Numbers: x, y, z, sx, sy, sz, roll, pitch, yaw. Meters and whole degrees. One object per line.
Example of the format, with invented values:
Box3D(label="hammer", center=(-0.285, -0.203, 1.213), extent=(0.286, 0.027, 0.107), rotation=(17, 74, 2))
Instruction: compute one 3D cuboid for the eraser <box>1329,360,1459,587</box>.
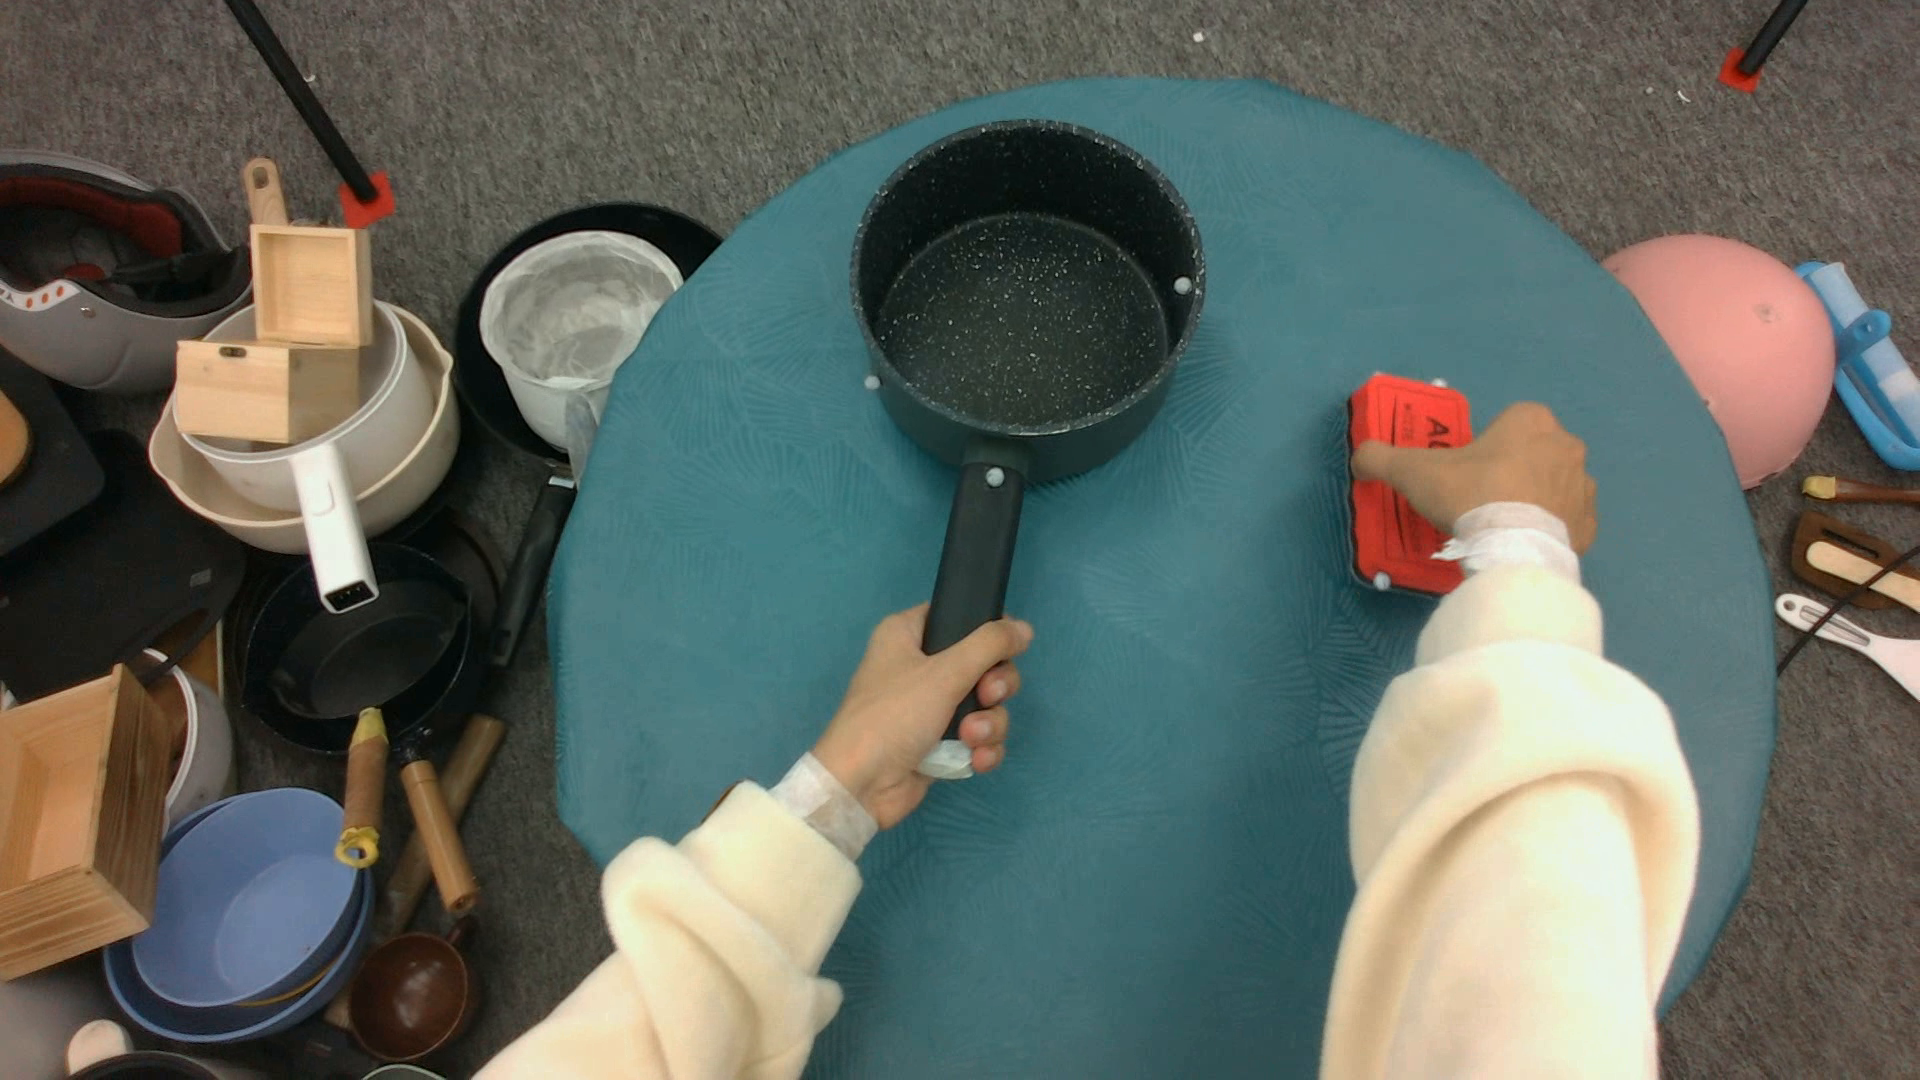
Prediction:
Box3D(label="eraser", center=(0.212, -0.033, 0.677), extent=(0.059, 0.023, 0.108), rotation=(11, 65, -14))

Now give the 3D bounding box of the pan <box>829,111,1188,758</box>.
Box3D(label="pan", center=(0.008, -0.050, 0.662), extent=(0.172, 0.086, 0.330), rotation=(11, 69, 5))
